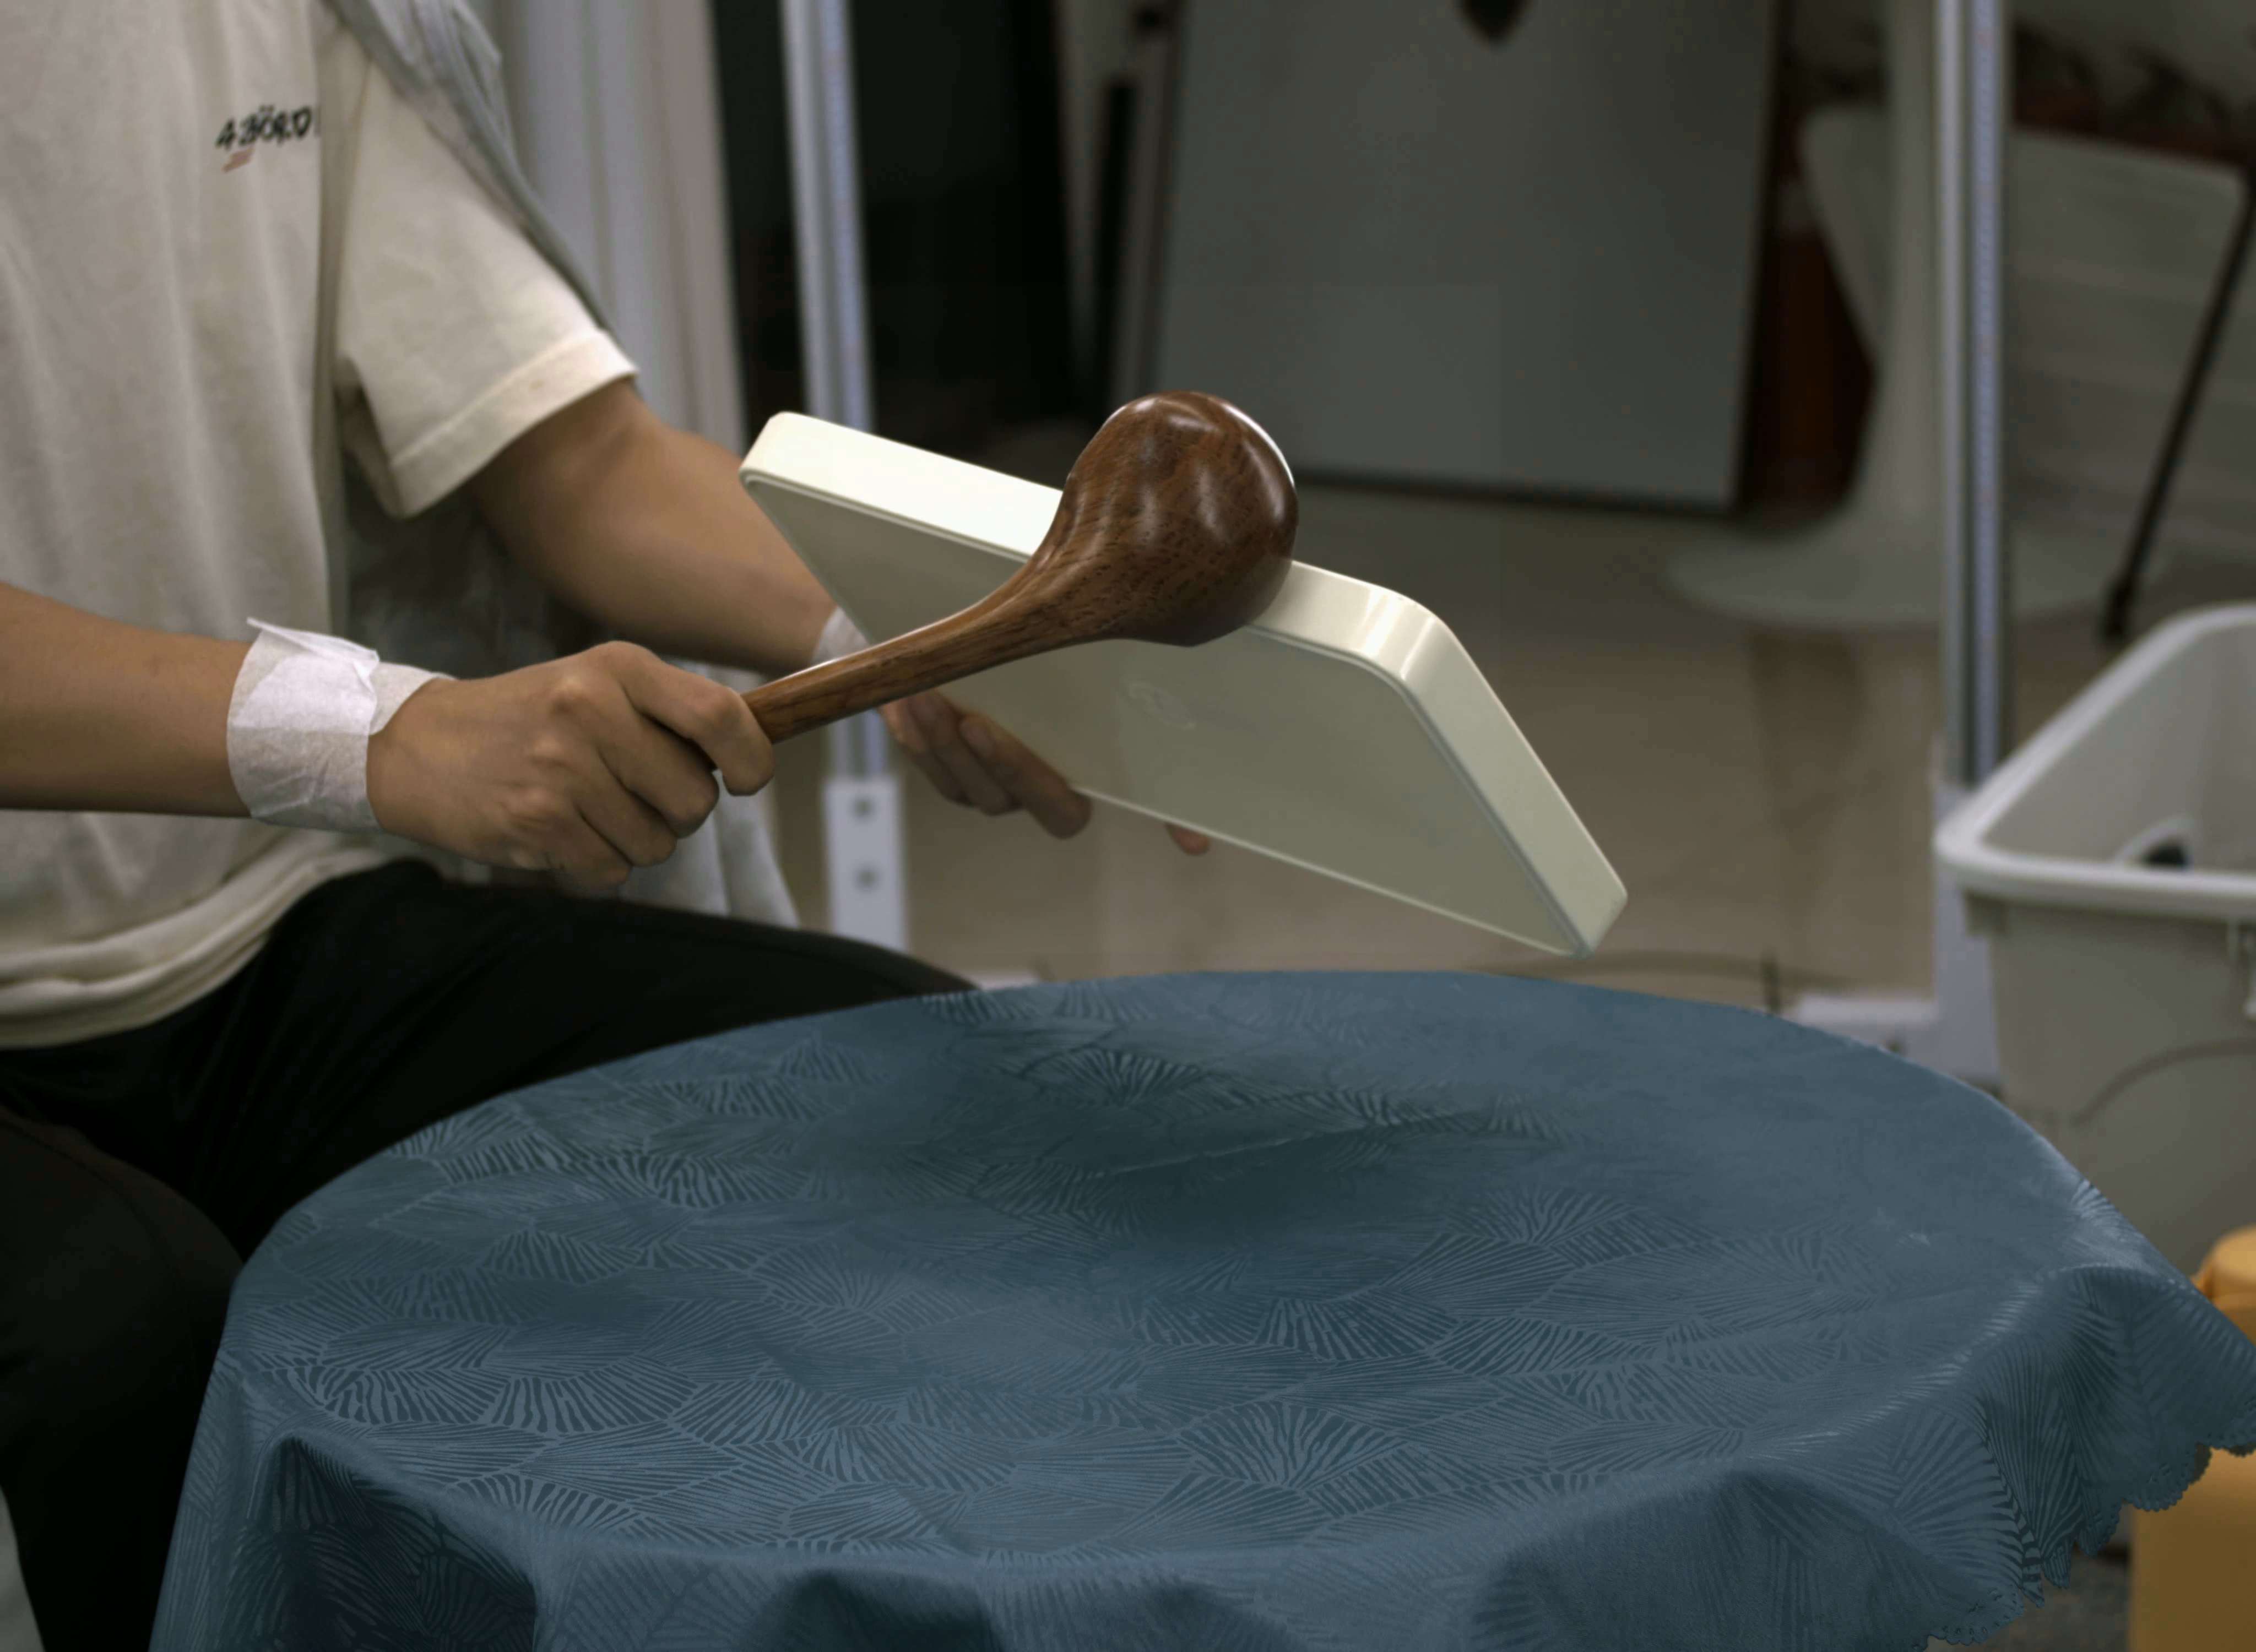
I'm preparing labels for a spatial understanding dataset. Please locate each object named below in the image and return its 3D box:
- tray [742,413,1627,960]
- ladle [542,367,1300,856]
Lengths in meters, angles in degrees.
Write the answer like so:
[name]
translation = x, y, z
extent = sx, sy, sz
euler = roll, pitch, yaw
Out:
[tray]
translation = 0.017, -0.047, 1.829
extent = 0.303, 0.189, 0.027
euler = 19, 68, 39
[ladle]
translation = -0.069, -0.064, 1.730
extent = 0.275, 0.082, 0.076
euler = -23, 16, 28
